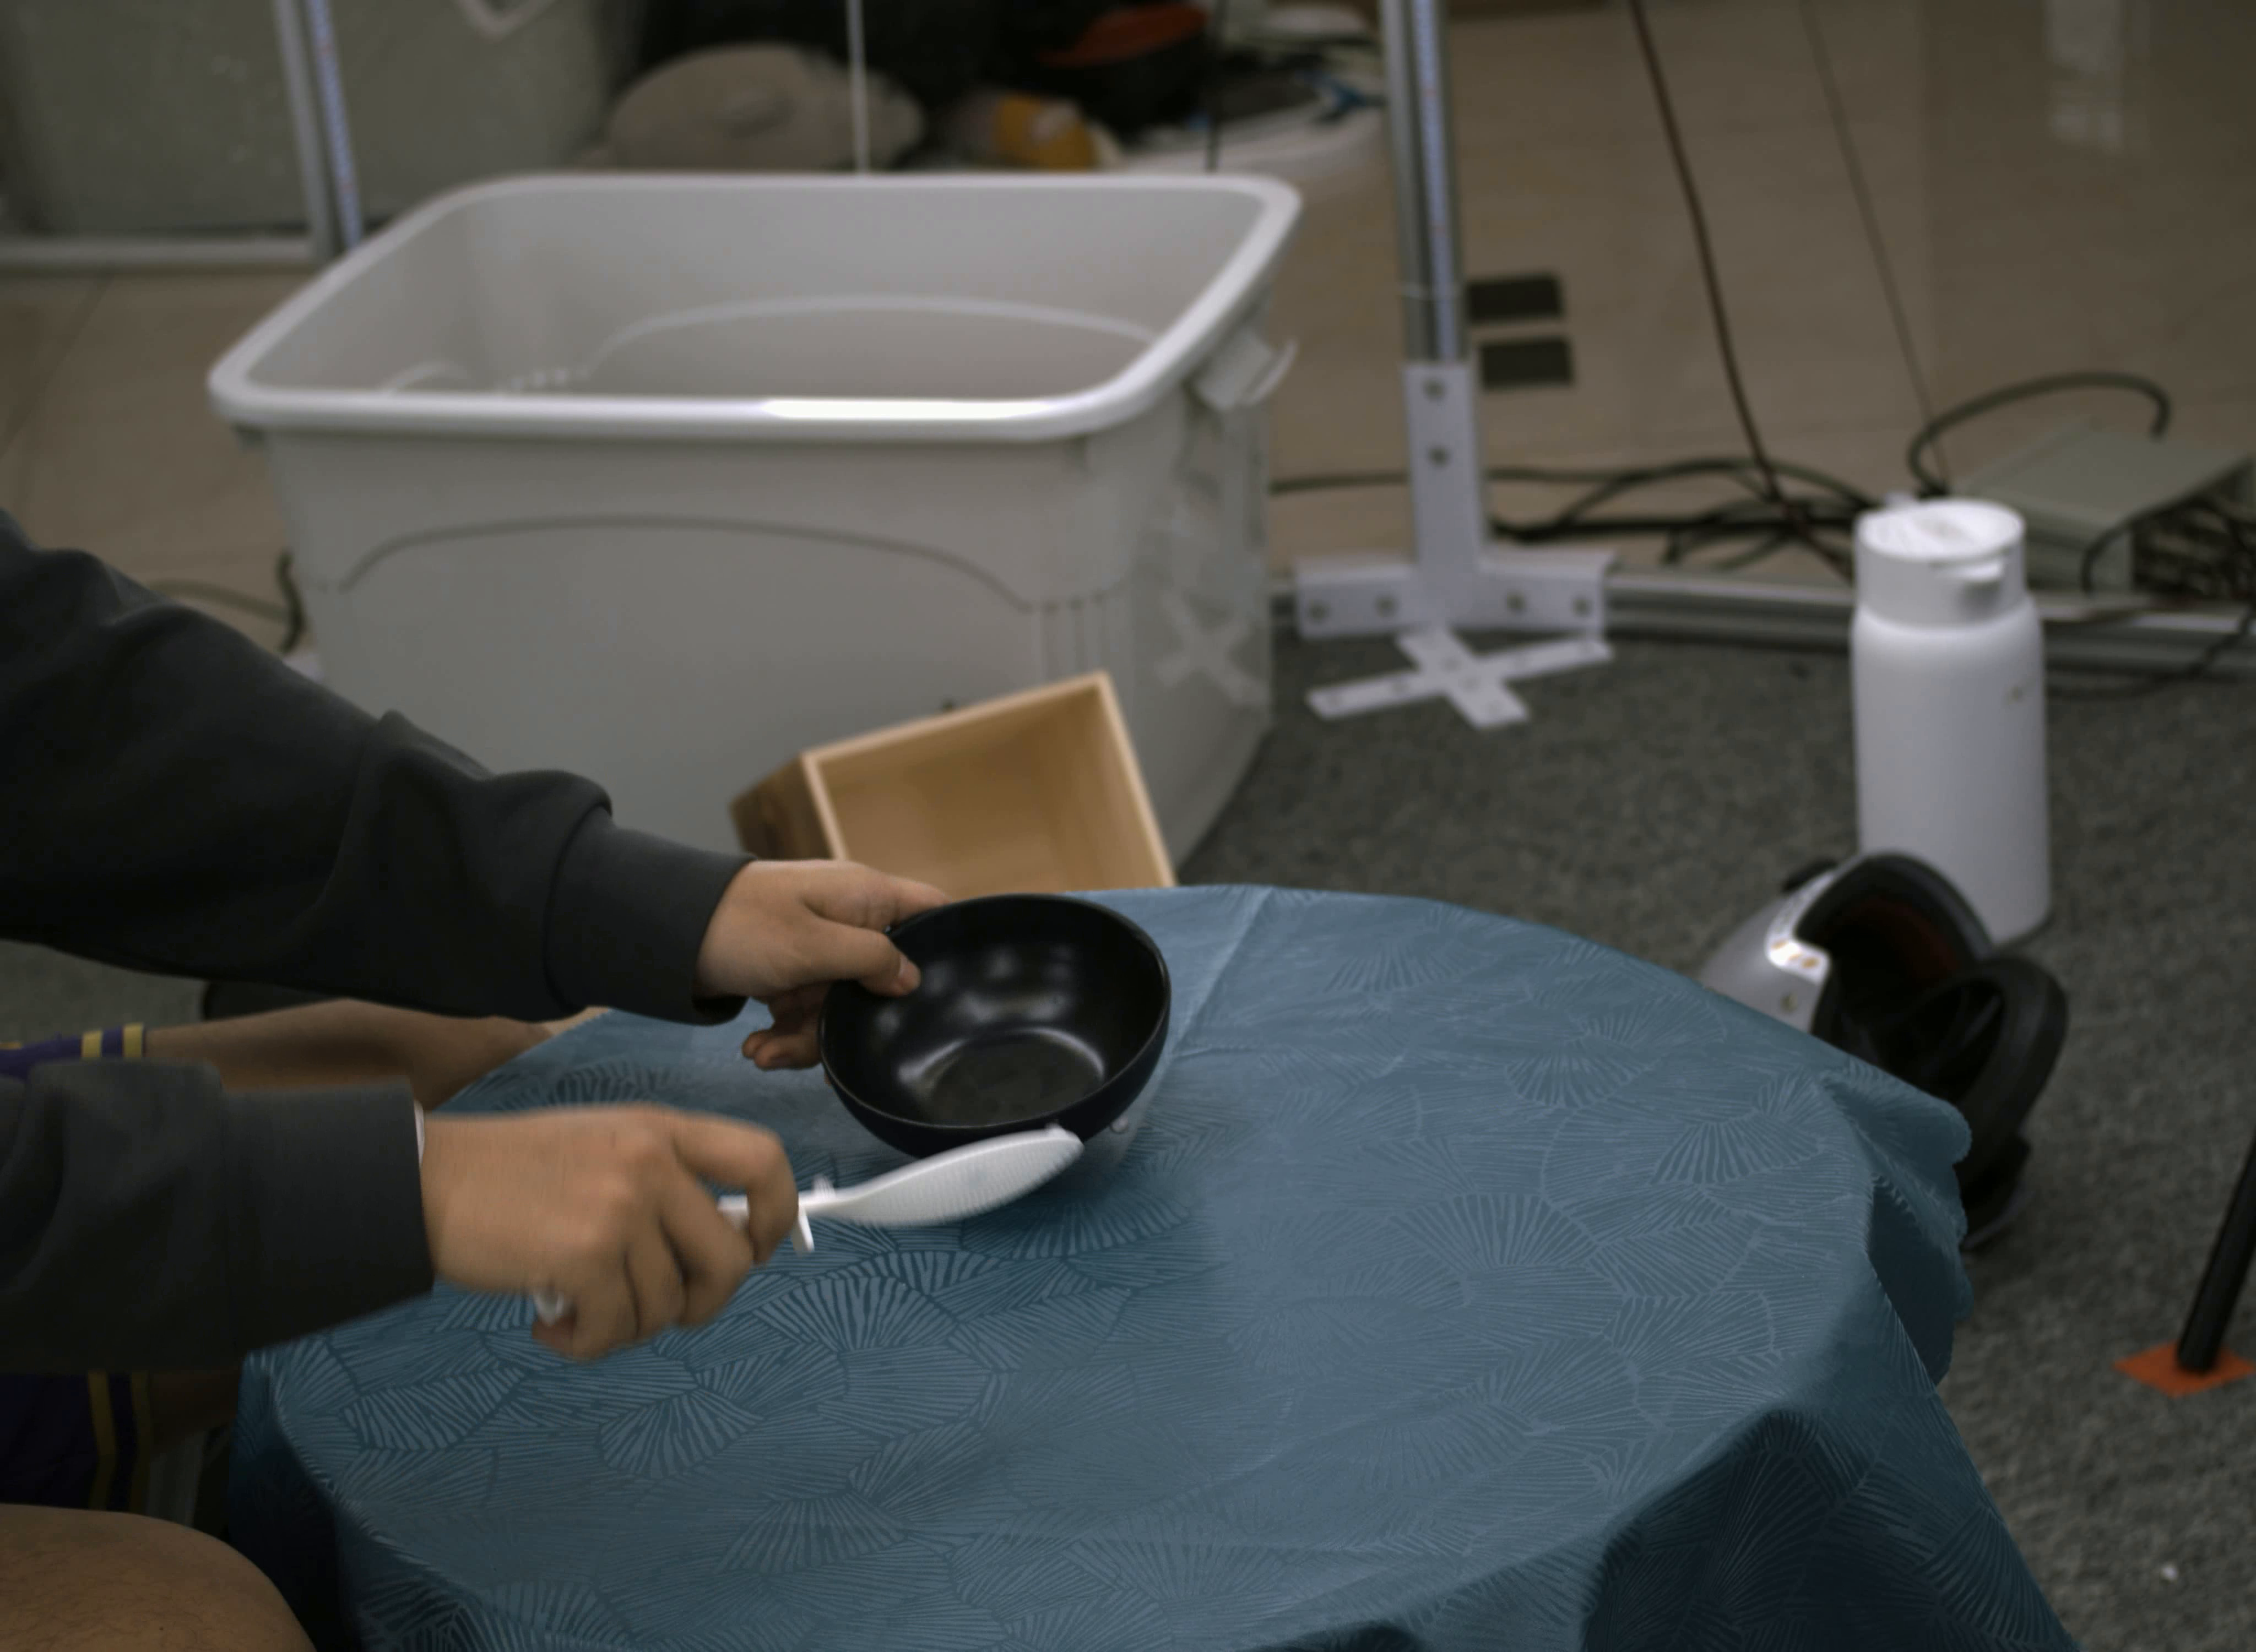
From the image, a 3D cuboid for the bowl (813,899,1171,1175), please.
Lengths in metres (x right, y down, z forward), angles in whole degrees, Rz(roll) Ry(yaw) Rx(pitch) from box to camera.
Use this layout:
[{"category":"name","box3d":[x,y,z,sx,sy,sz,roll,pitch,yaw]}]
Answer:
[{"category":"bowl","box3d":[-0.049,0.090,2.189,0.140,0.051,0.137,-7,39,6]}]

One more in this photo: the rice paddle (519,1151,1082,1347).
[{"category":"rice paddle","box3d":[-0.108,0.137,1.936,0.204,0.029,0.069,-14,-11,-24]}]
